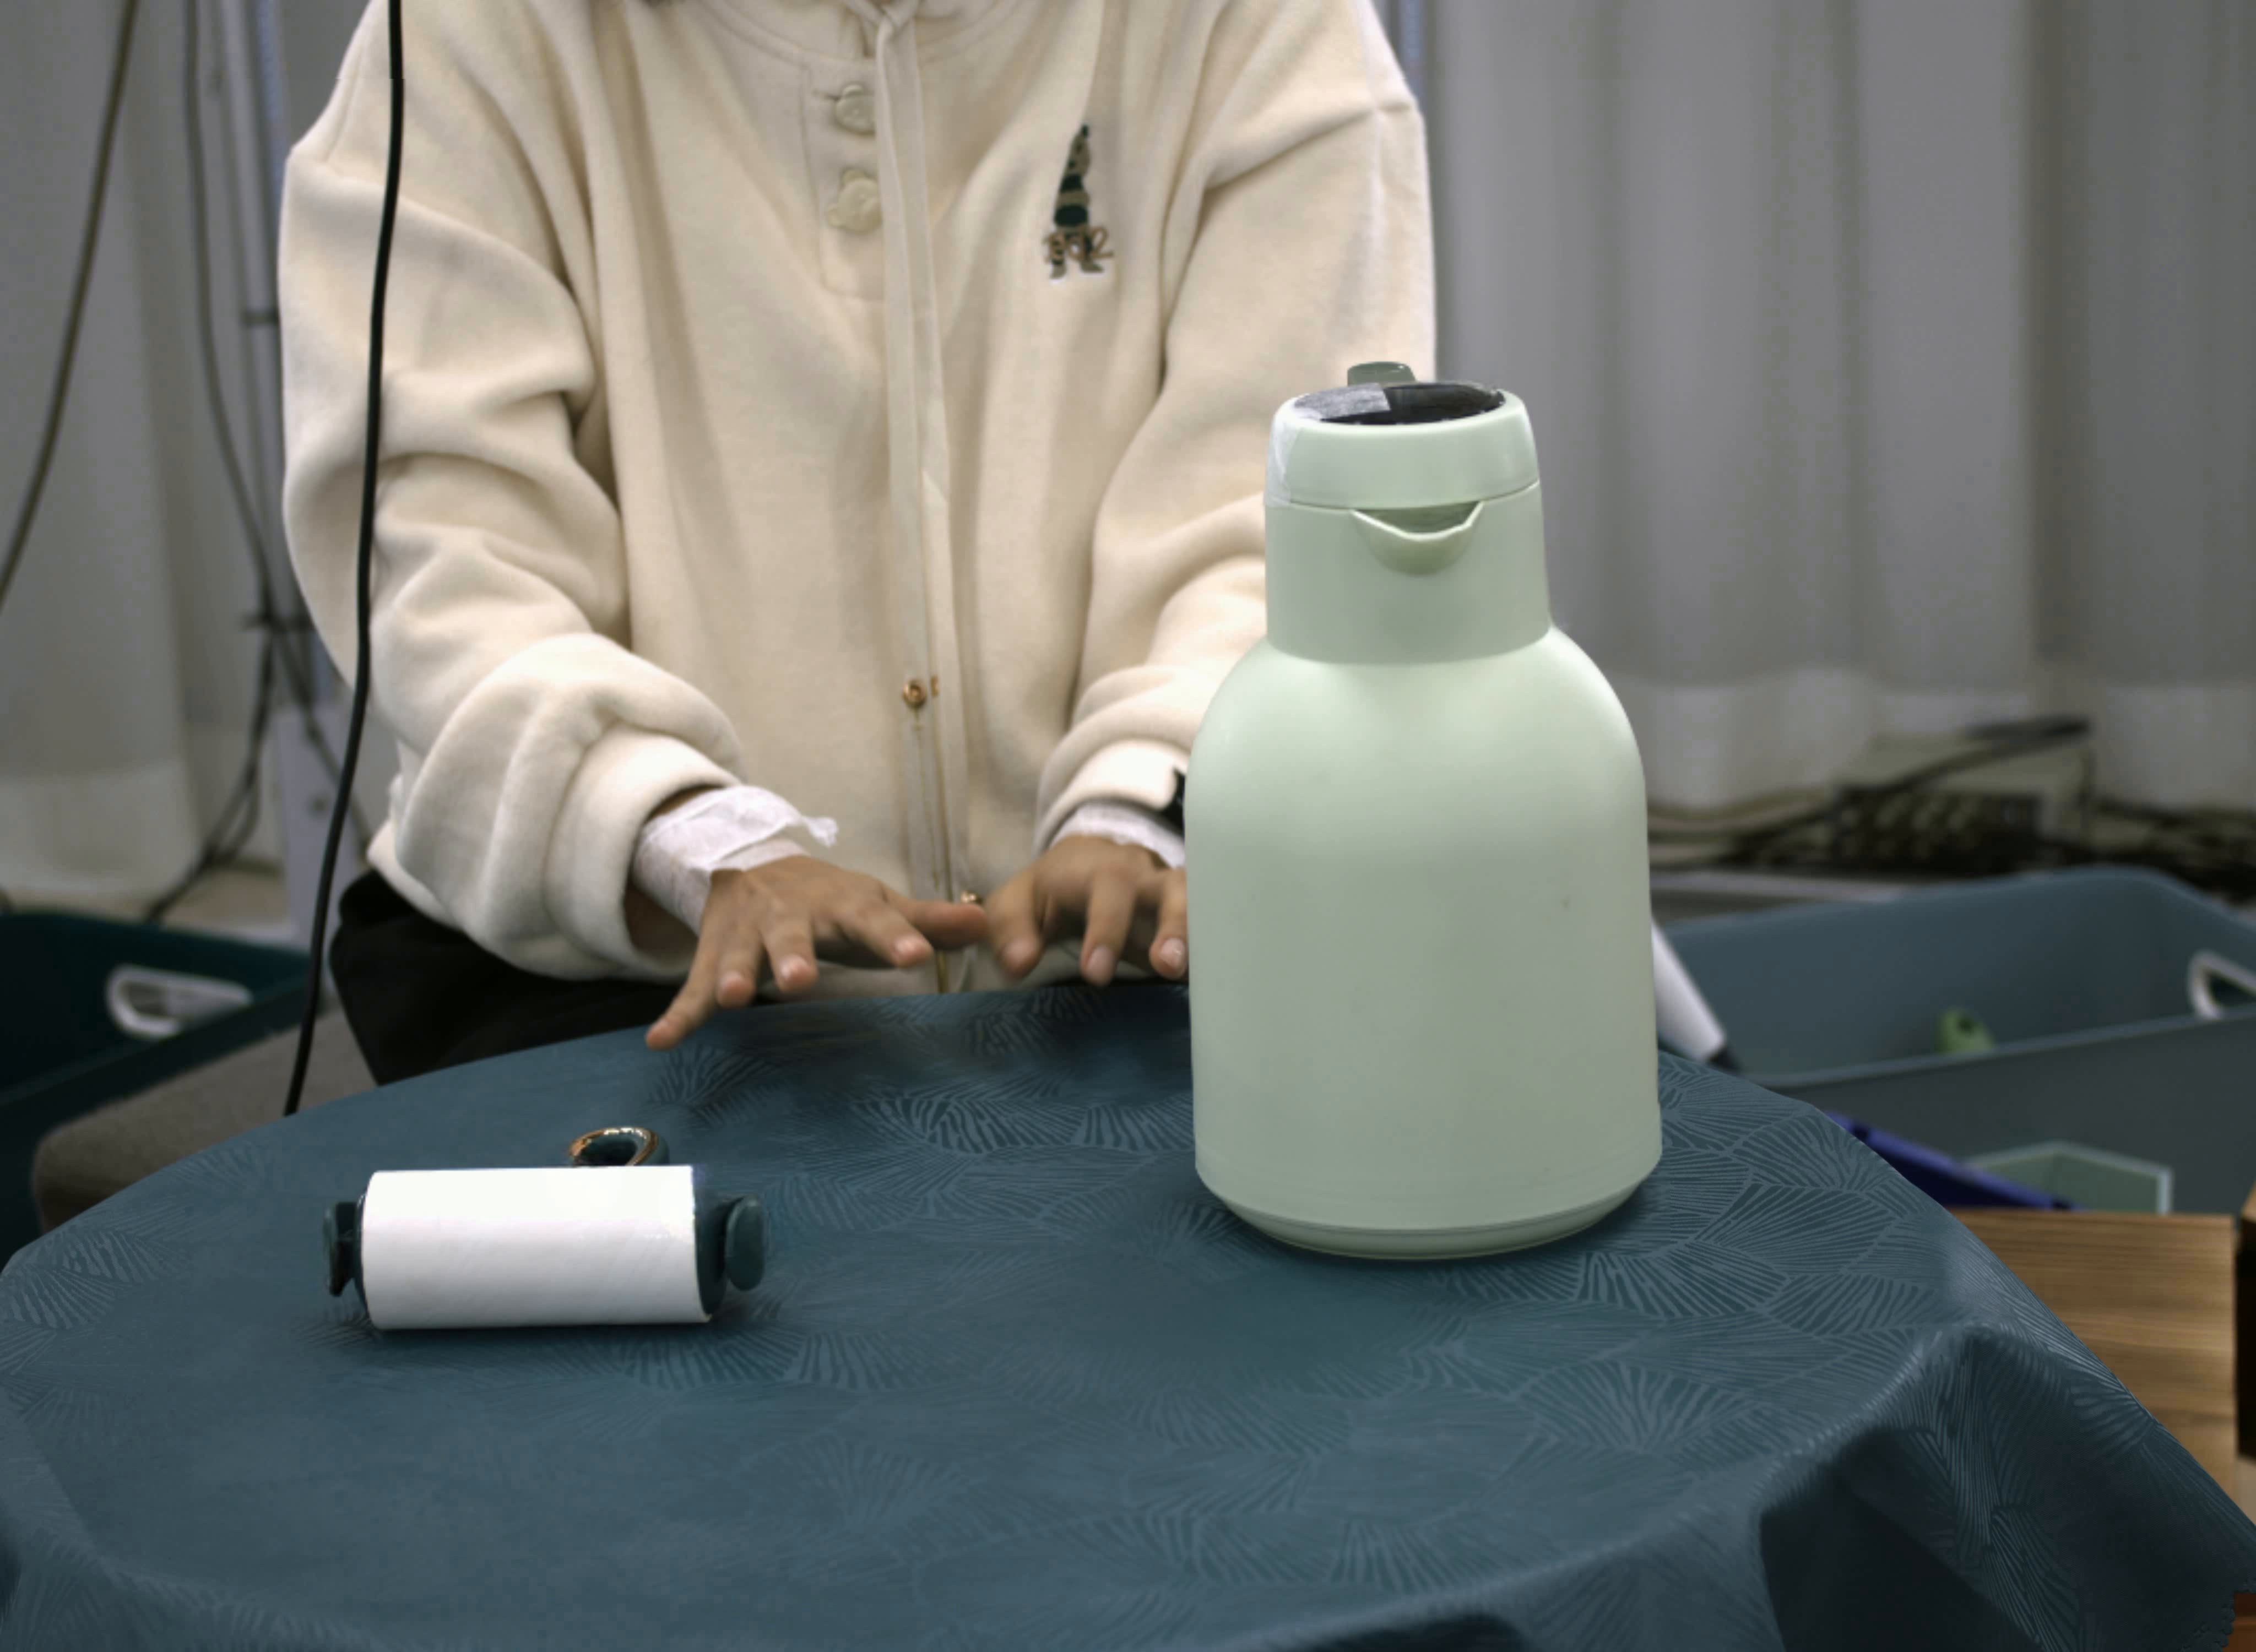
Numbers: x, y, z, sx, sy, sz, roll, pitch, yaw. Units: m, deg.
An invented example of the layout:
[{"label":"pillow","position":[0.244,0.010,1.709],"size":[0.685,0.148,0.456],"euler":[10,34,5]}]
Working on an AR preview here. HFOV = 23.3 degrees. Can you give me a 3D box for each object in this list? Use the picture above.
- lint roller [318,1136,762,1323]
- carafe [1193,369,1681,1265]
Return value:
[{"label":"lint roller","position":[-0.169,0.107,1.684],"size":[0.134,0.048,0.181],"euler":[-1,15,5]},{"label":"carafe","position":[0.089,-0.008,1.678],"size":[0.144,0.256,0.188],"euler":[-5,10,-2]}]
